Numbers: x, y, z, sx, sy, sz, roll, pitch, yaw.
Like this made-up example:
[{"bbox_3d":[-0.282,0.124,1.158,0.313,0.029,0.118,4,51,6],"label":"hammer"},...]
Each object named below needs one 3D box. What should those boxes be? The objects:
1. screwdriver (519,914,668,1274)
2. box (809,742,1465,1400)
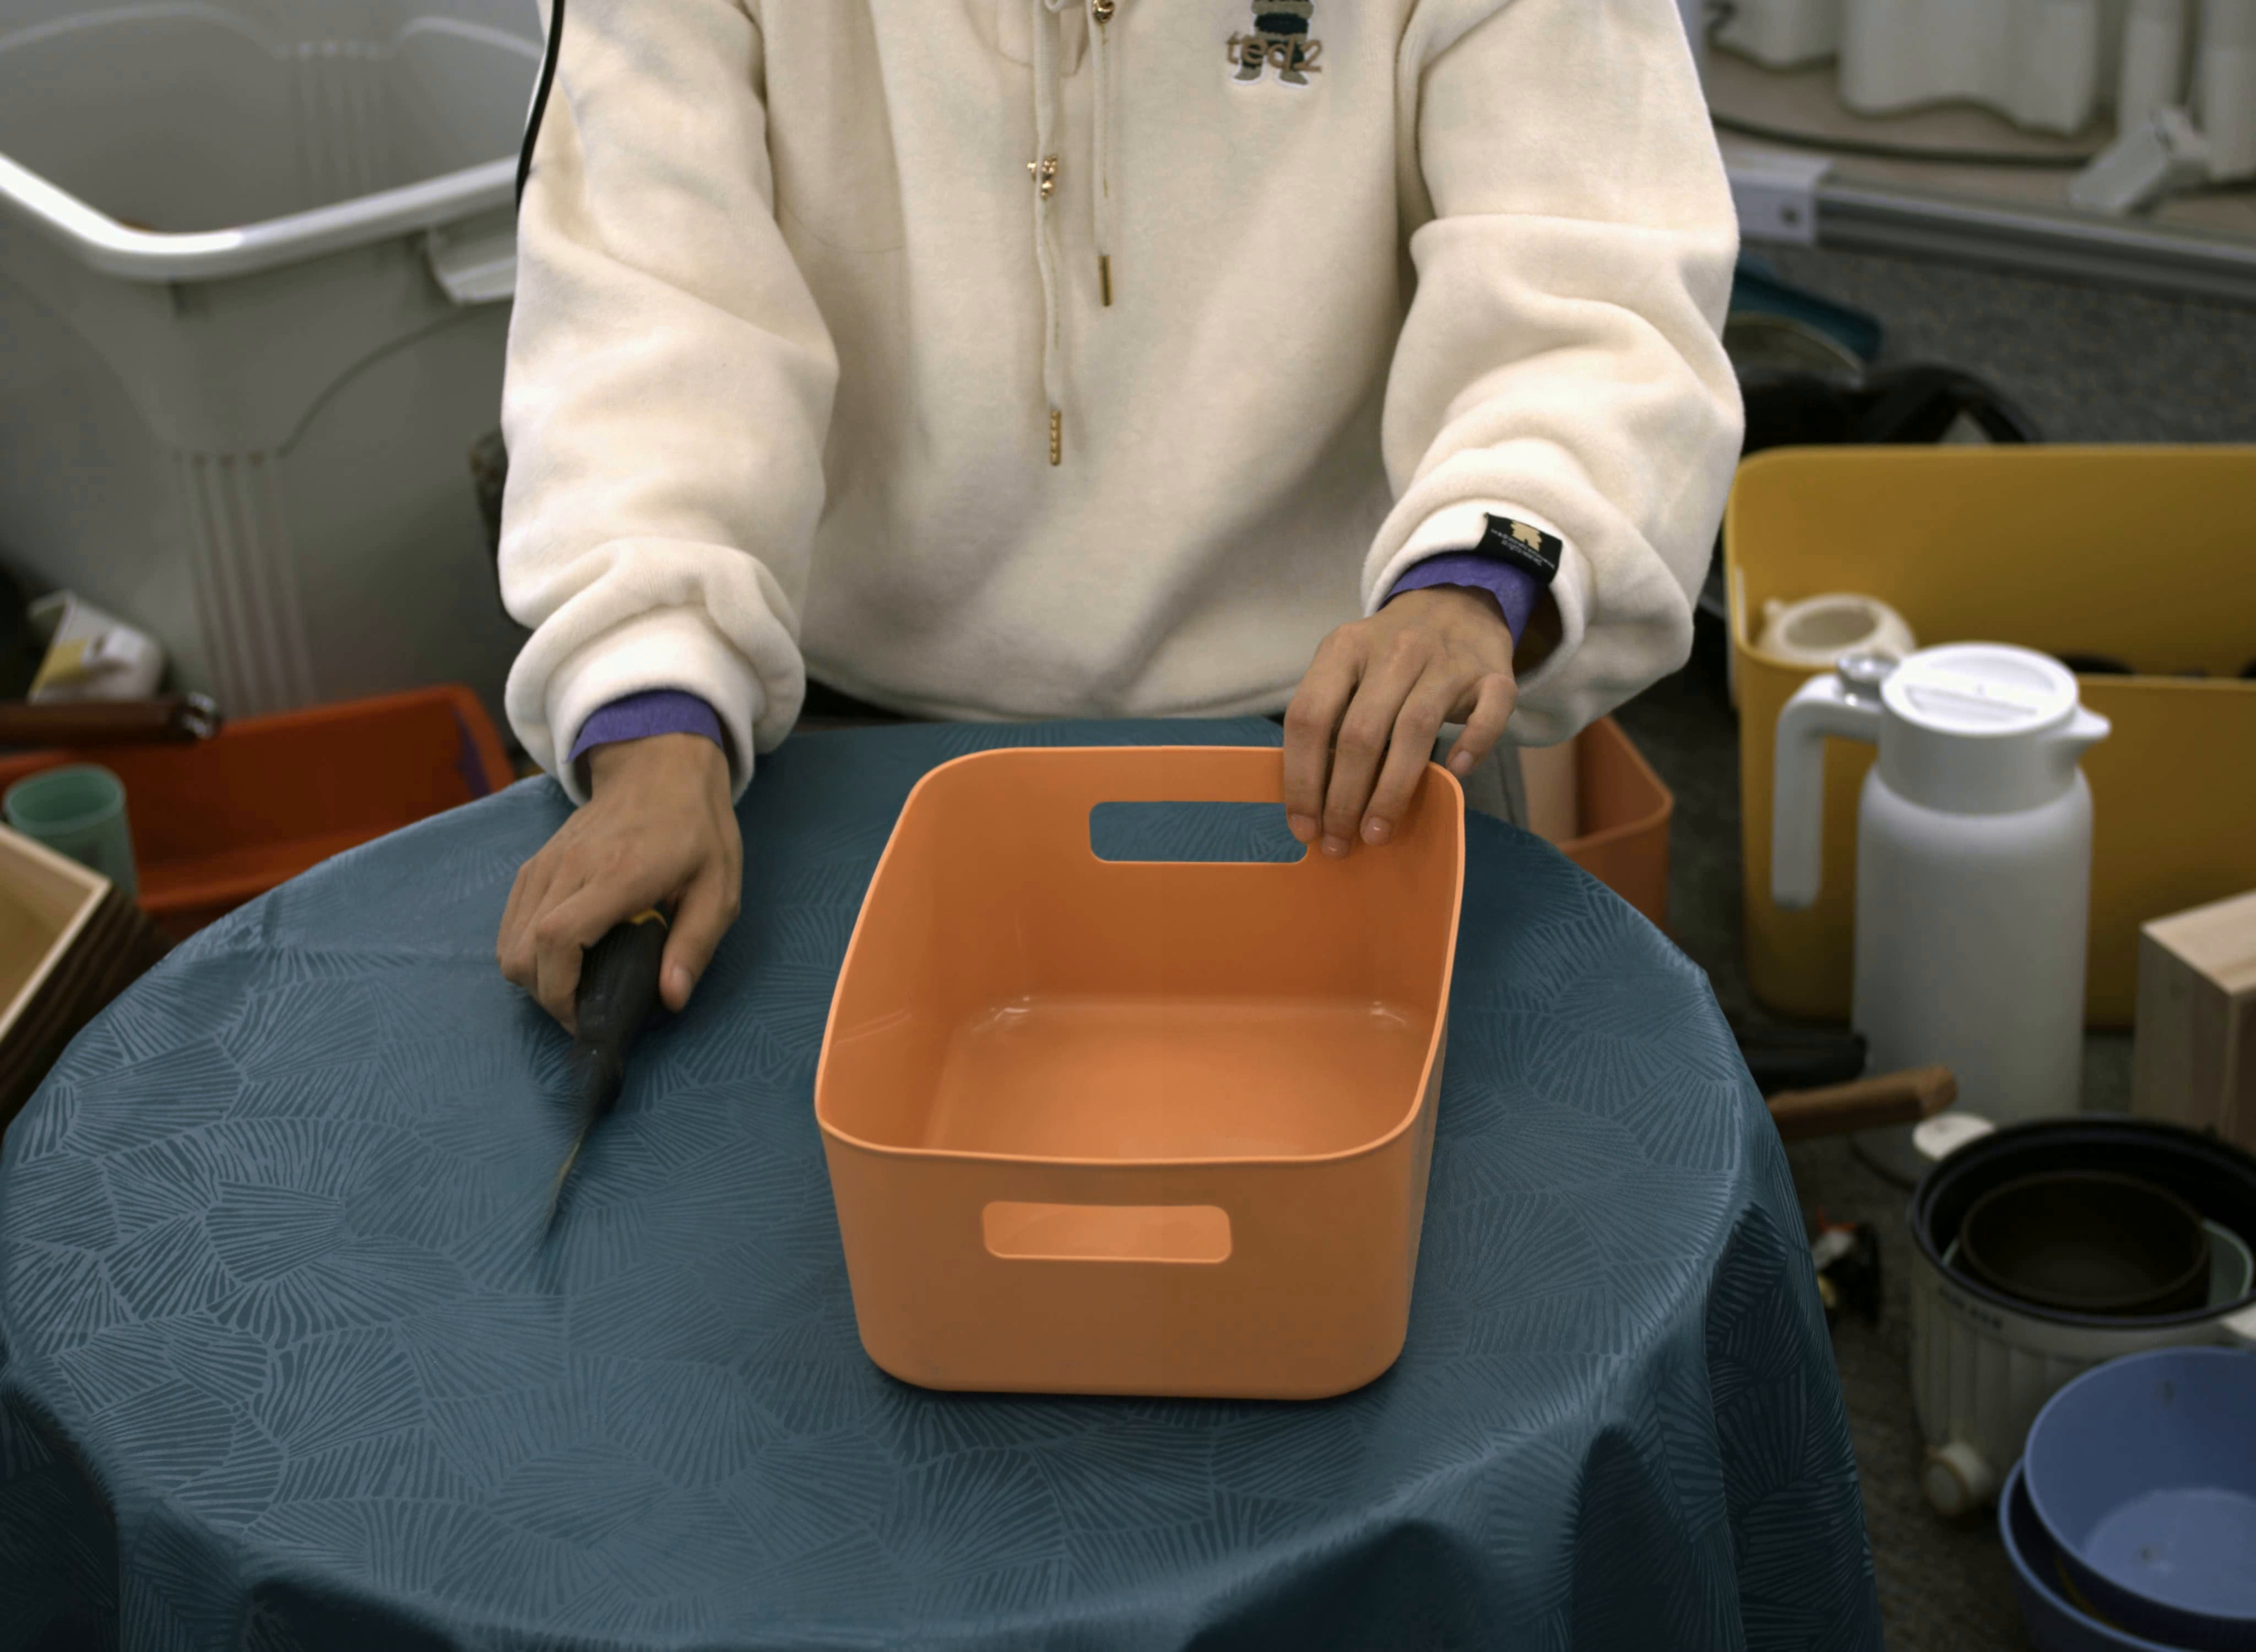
[{"bbox_3d":[-0.188,0.092,1.914,0.031,0.031,0.201,2,33,10],"label":"screwdriver"},{"bbox_3d":[0.011,0.079,1.831,0.198,0.101,0.278,0,28,7],"label":"box"}]
